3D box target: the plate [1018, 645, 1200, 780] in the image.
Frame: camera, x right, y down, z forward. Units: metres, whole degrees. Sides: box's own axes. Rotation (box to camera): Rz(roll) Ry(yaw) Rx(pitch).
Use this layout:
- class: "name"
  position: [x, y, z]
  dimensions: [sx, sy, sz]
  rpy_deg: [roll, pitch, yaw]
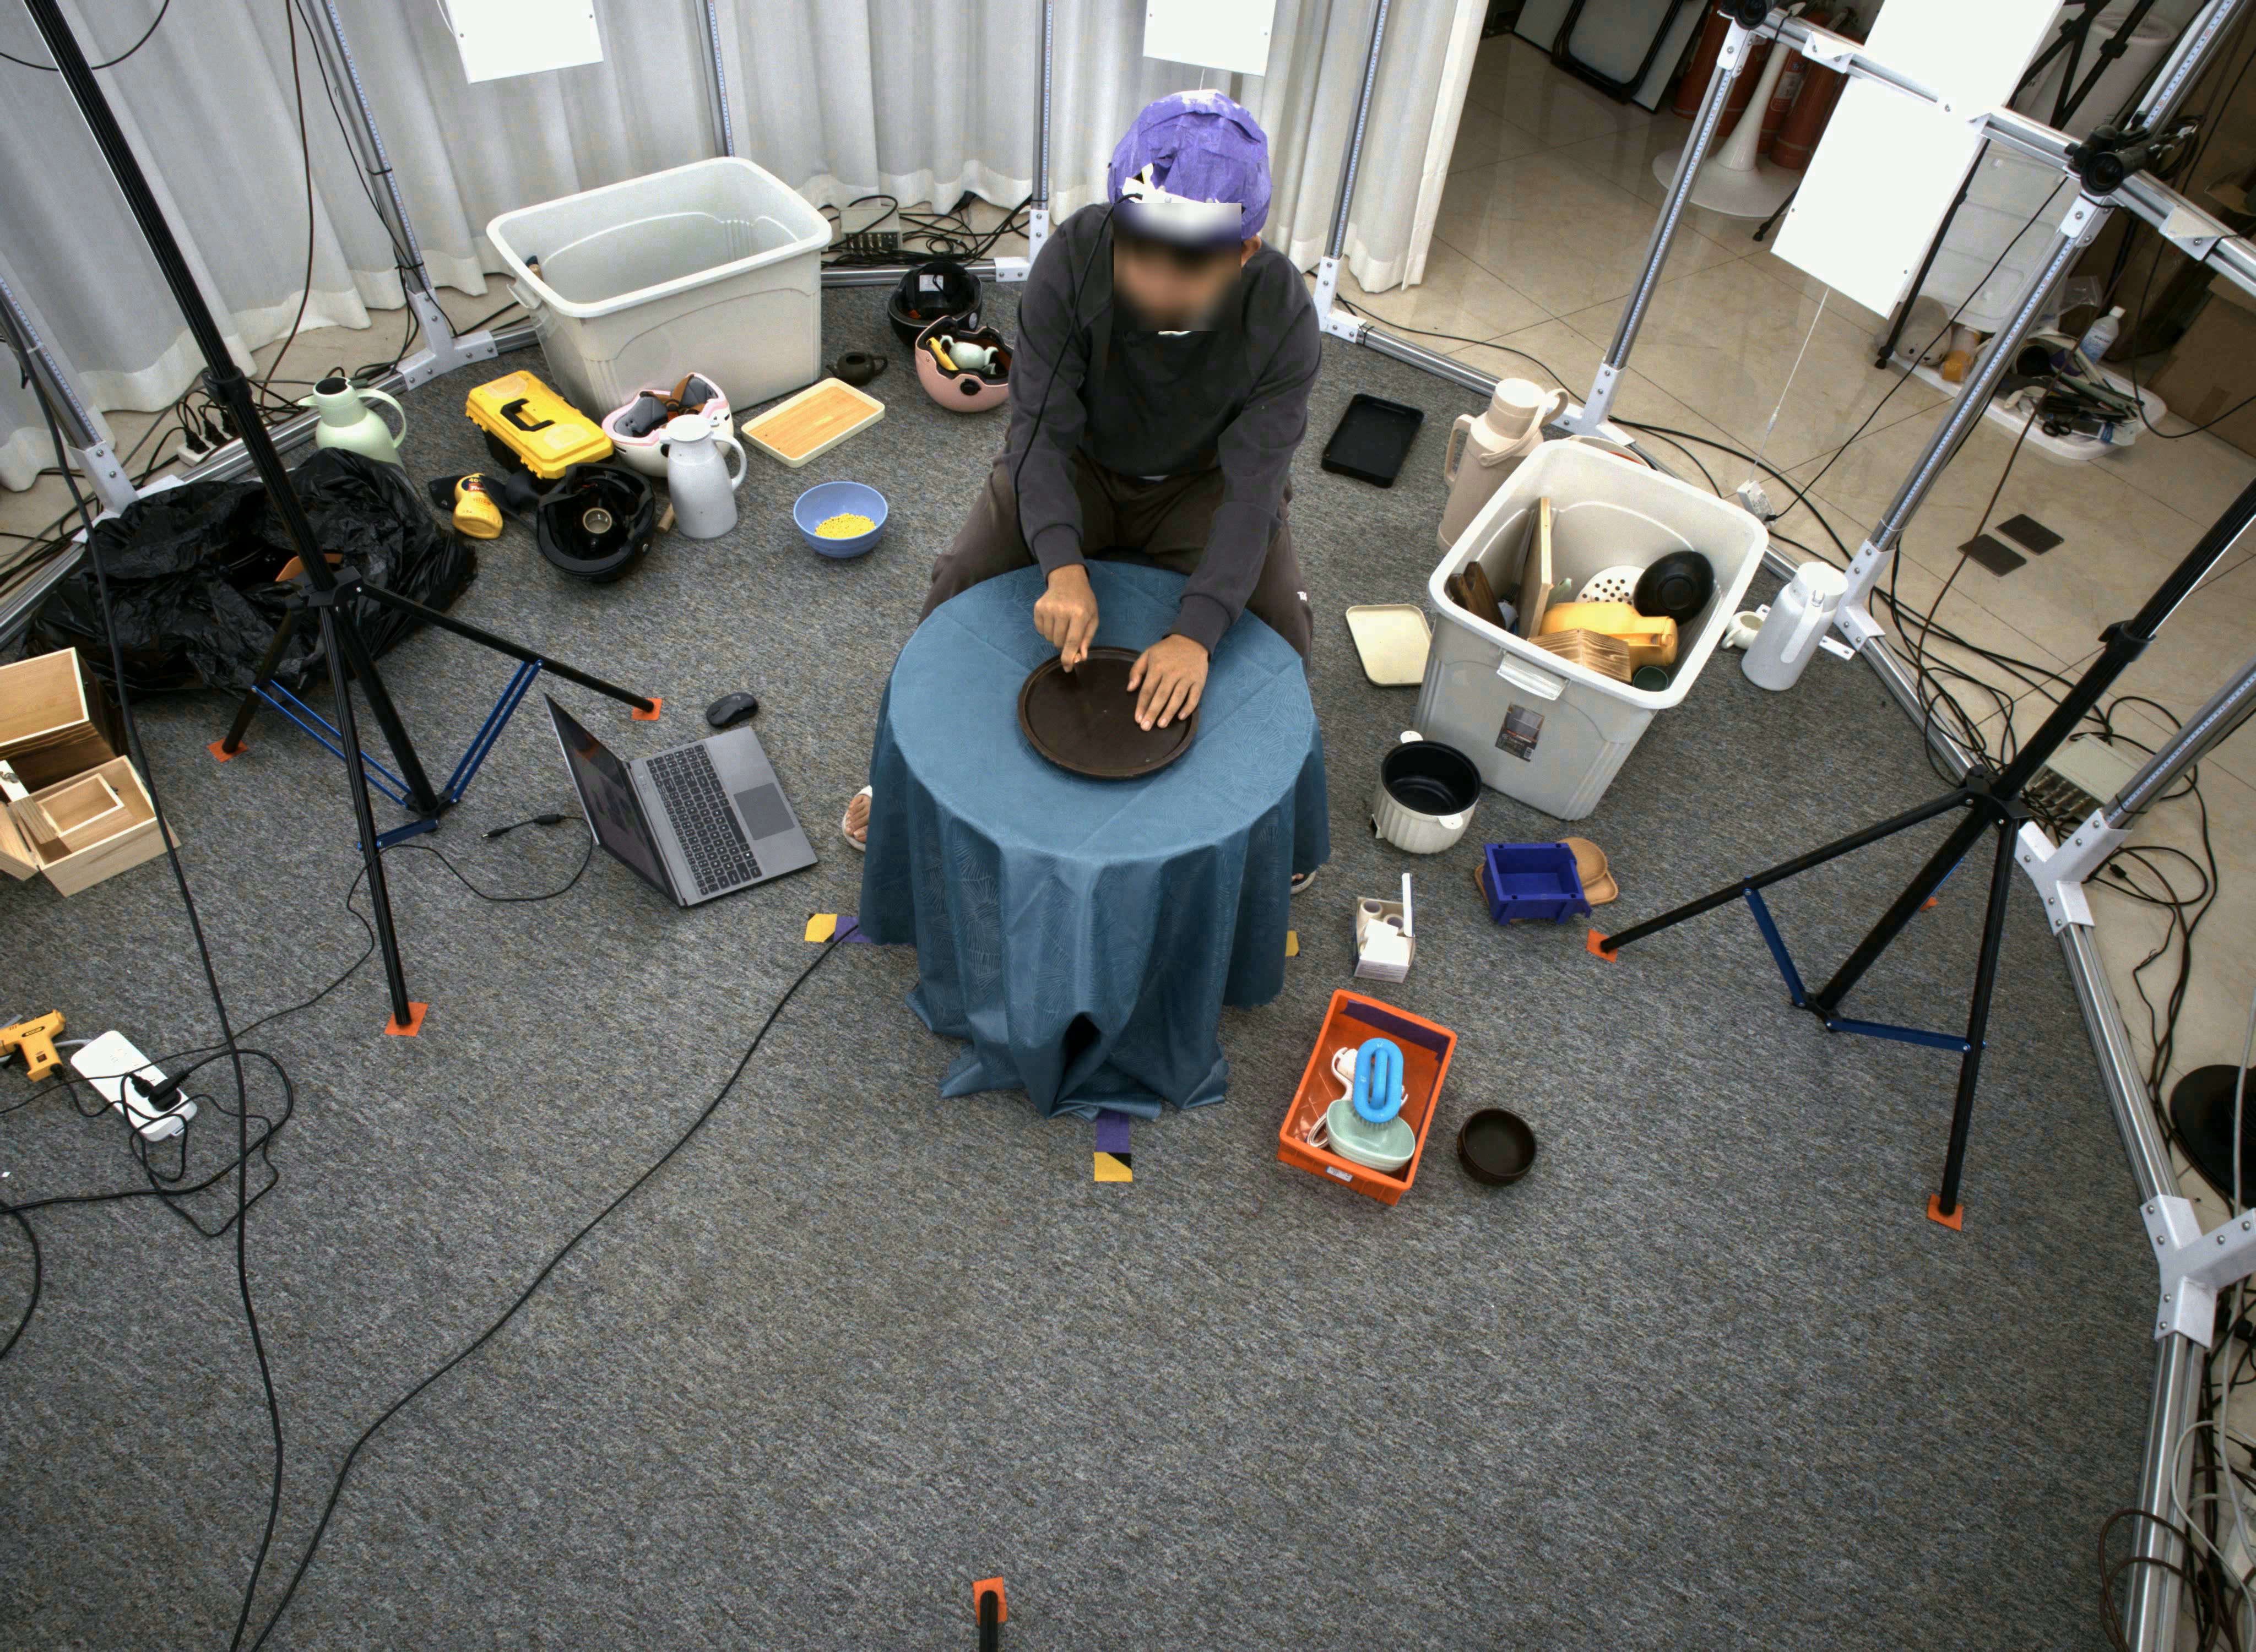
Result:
- class: "plate"
  position: [-0.027, -0.159, 1.787]
  dimensions: [0.254, 0.028, 0.261]
  rpy_deg: [1, 48, -2]

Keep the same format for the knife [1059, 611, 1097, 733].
- class: "knife"
  position: [-0.069, -0.218, 1.798]
  dimensions: [0.017, 0.025, 0.231]
  rpy_deg: [-15, 53, -2]
